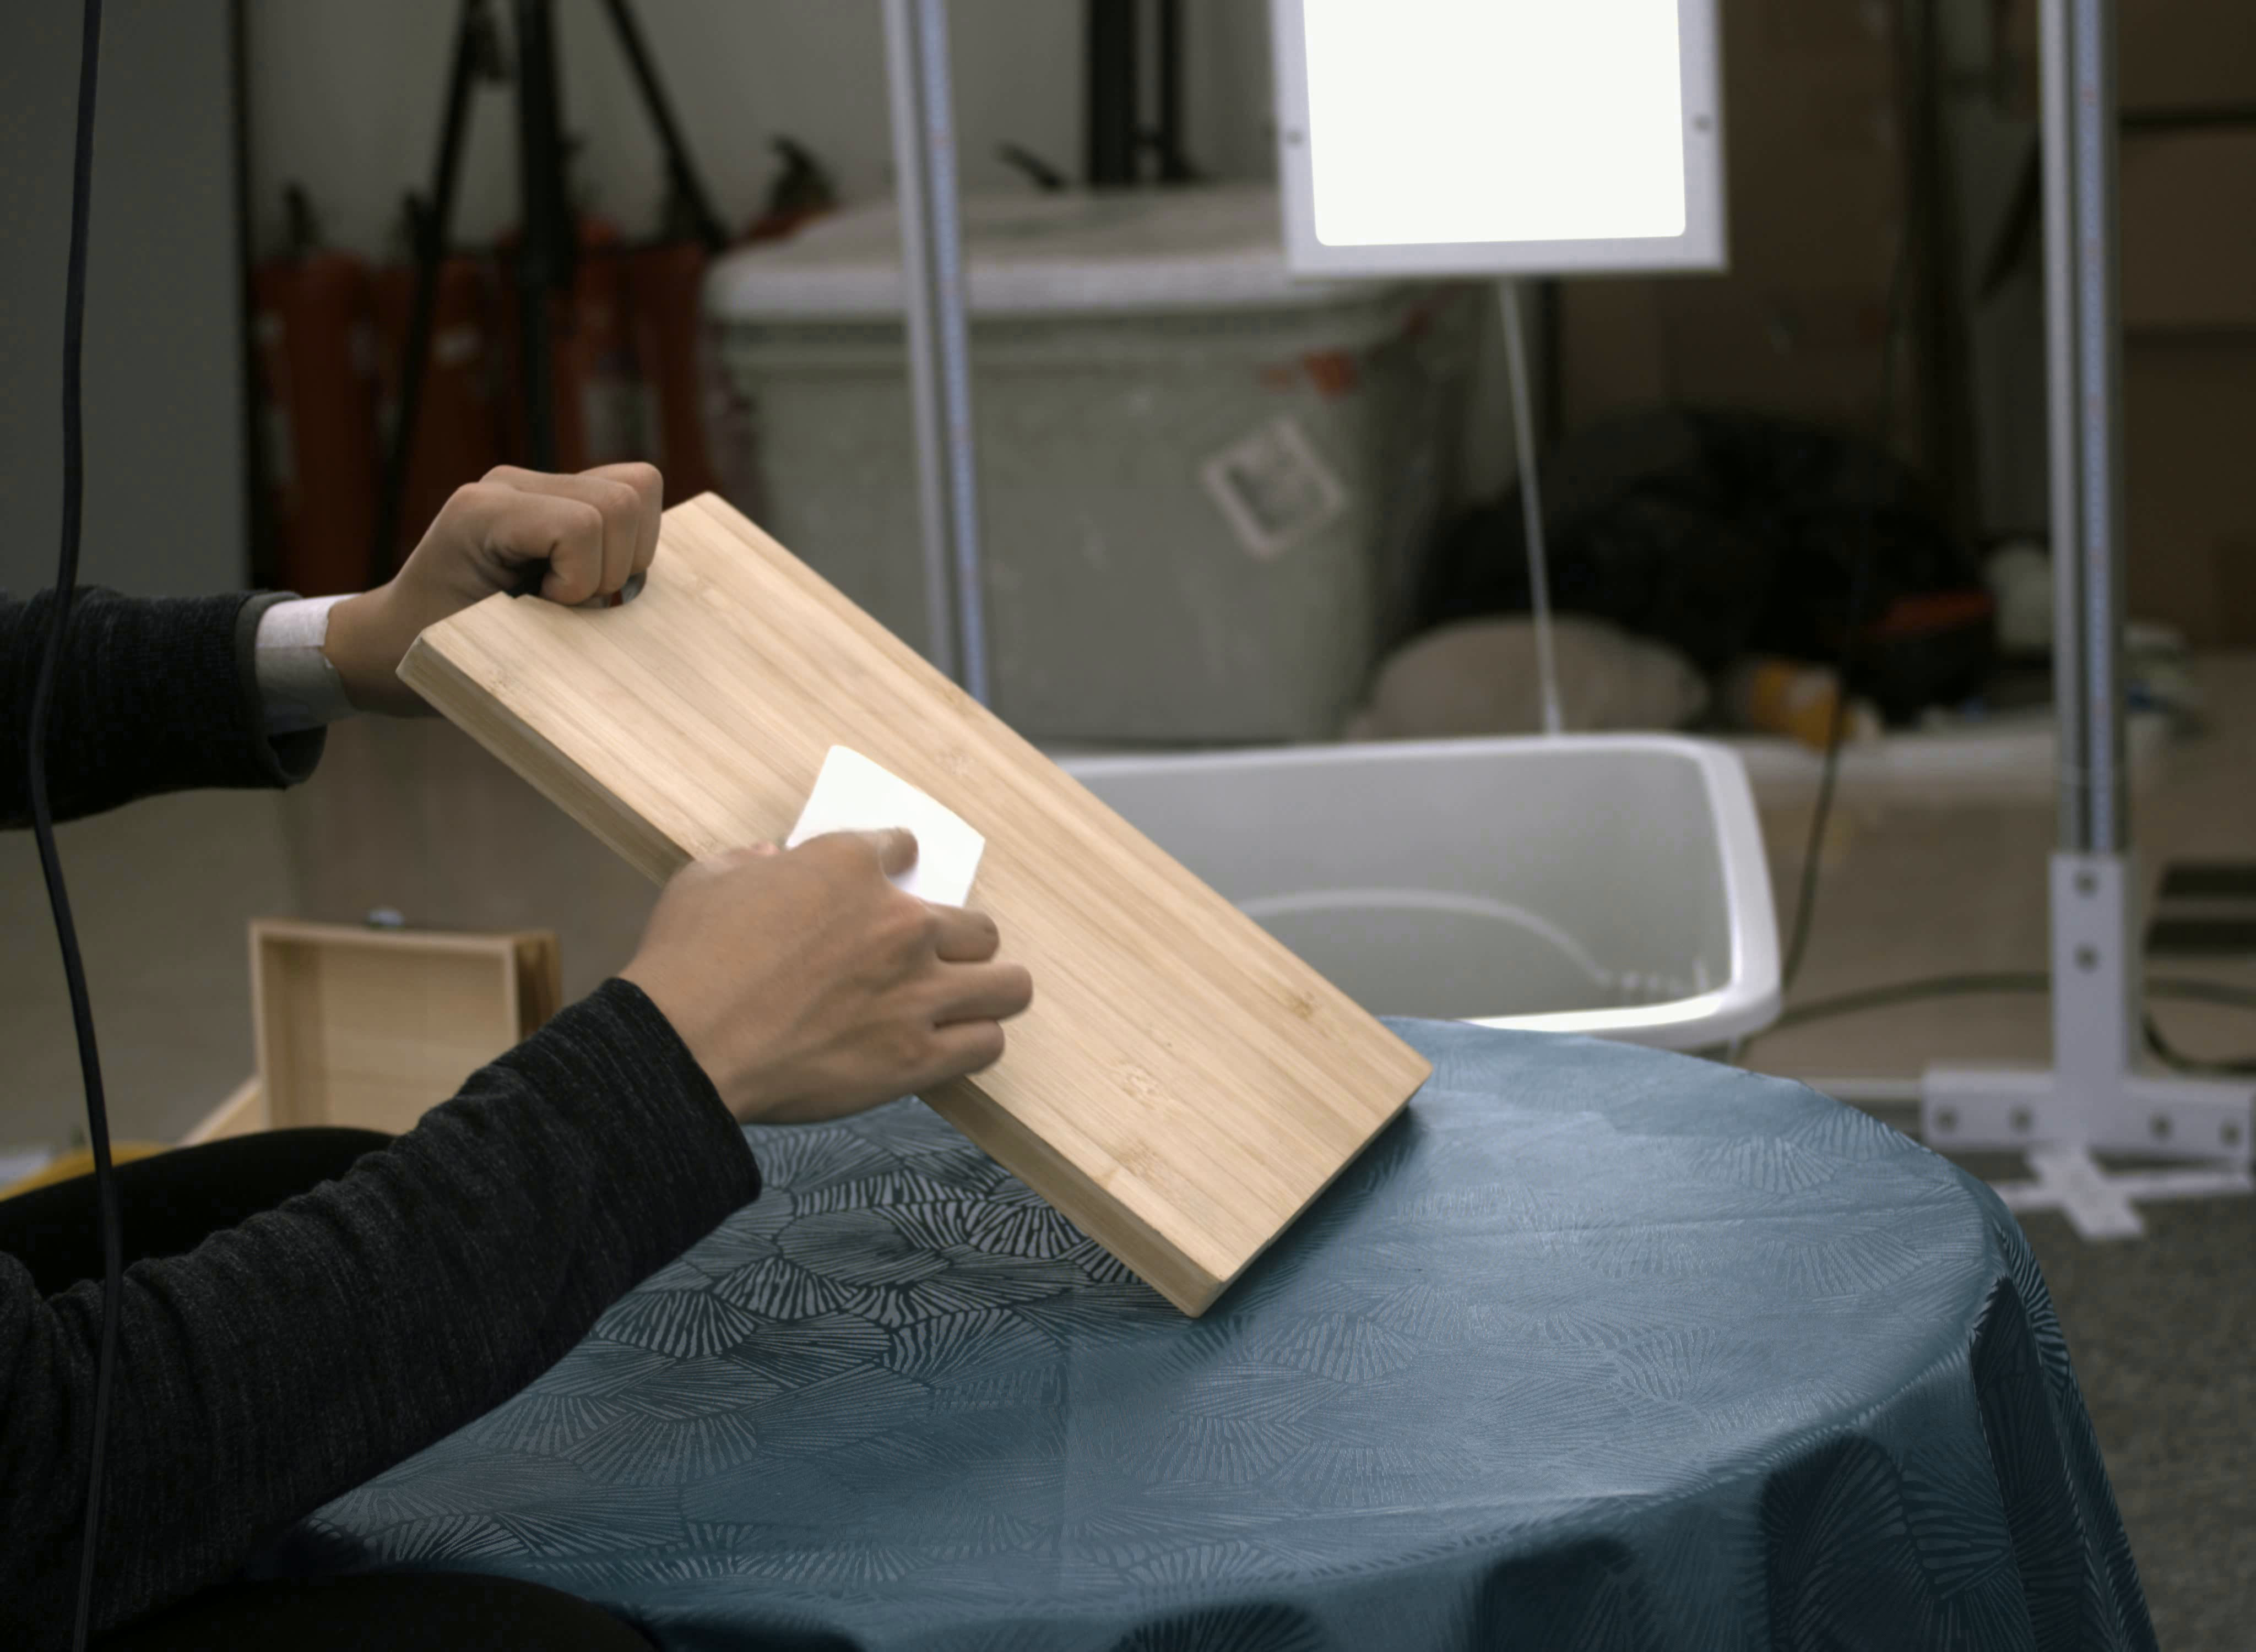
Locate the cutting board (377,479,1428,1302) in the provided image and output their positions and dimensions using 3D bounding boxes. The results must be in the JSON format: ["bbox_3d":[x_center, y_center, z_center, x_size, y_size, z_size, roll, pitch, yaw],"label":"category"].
[{"bbox_3d":[-0.070,0.015,1.890,0.350,0.024,0.246,38,24,8],"label":"cutting board"}]

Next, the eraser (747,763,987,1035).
[{"bbox_3d":[-0.085,0.020,1.799,0.063,0.035,0.130,32,23,-4],"label":"eraser"}]
